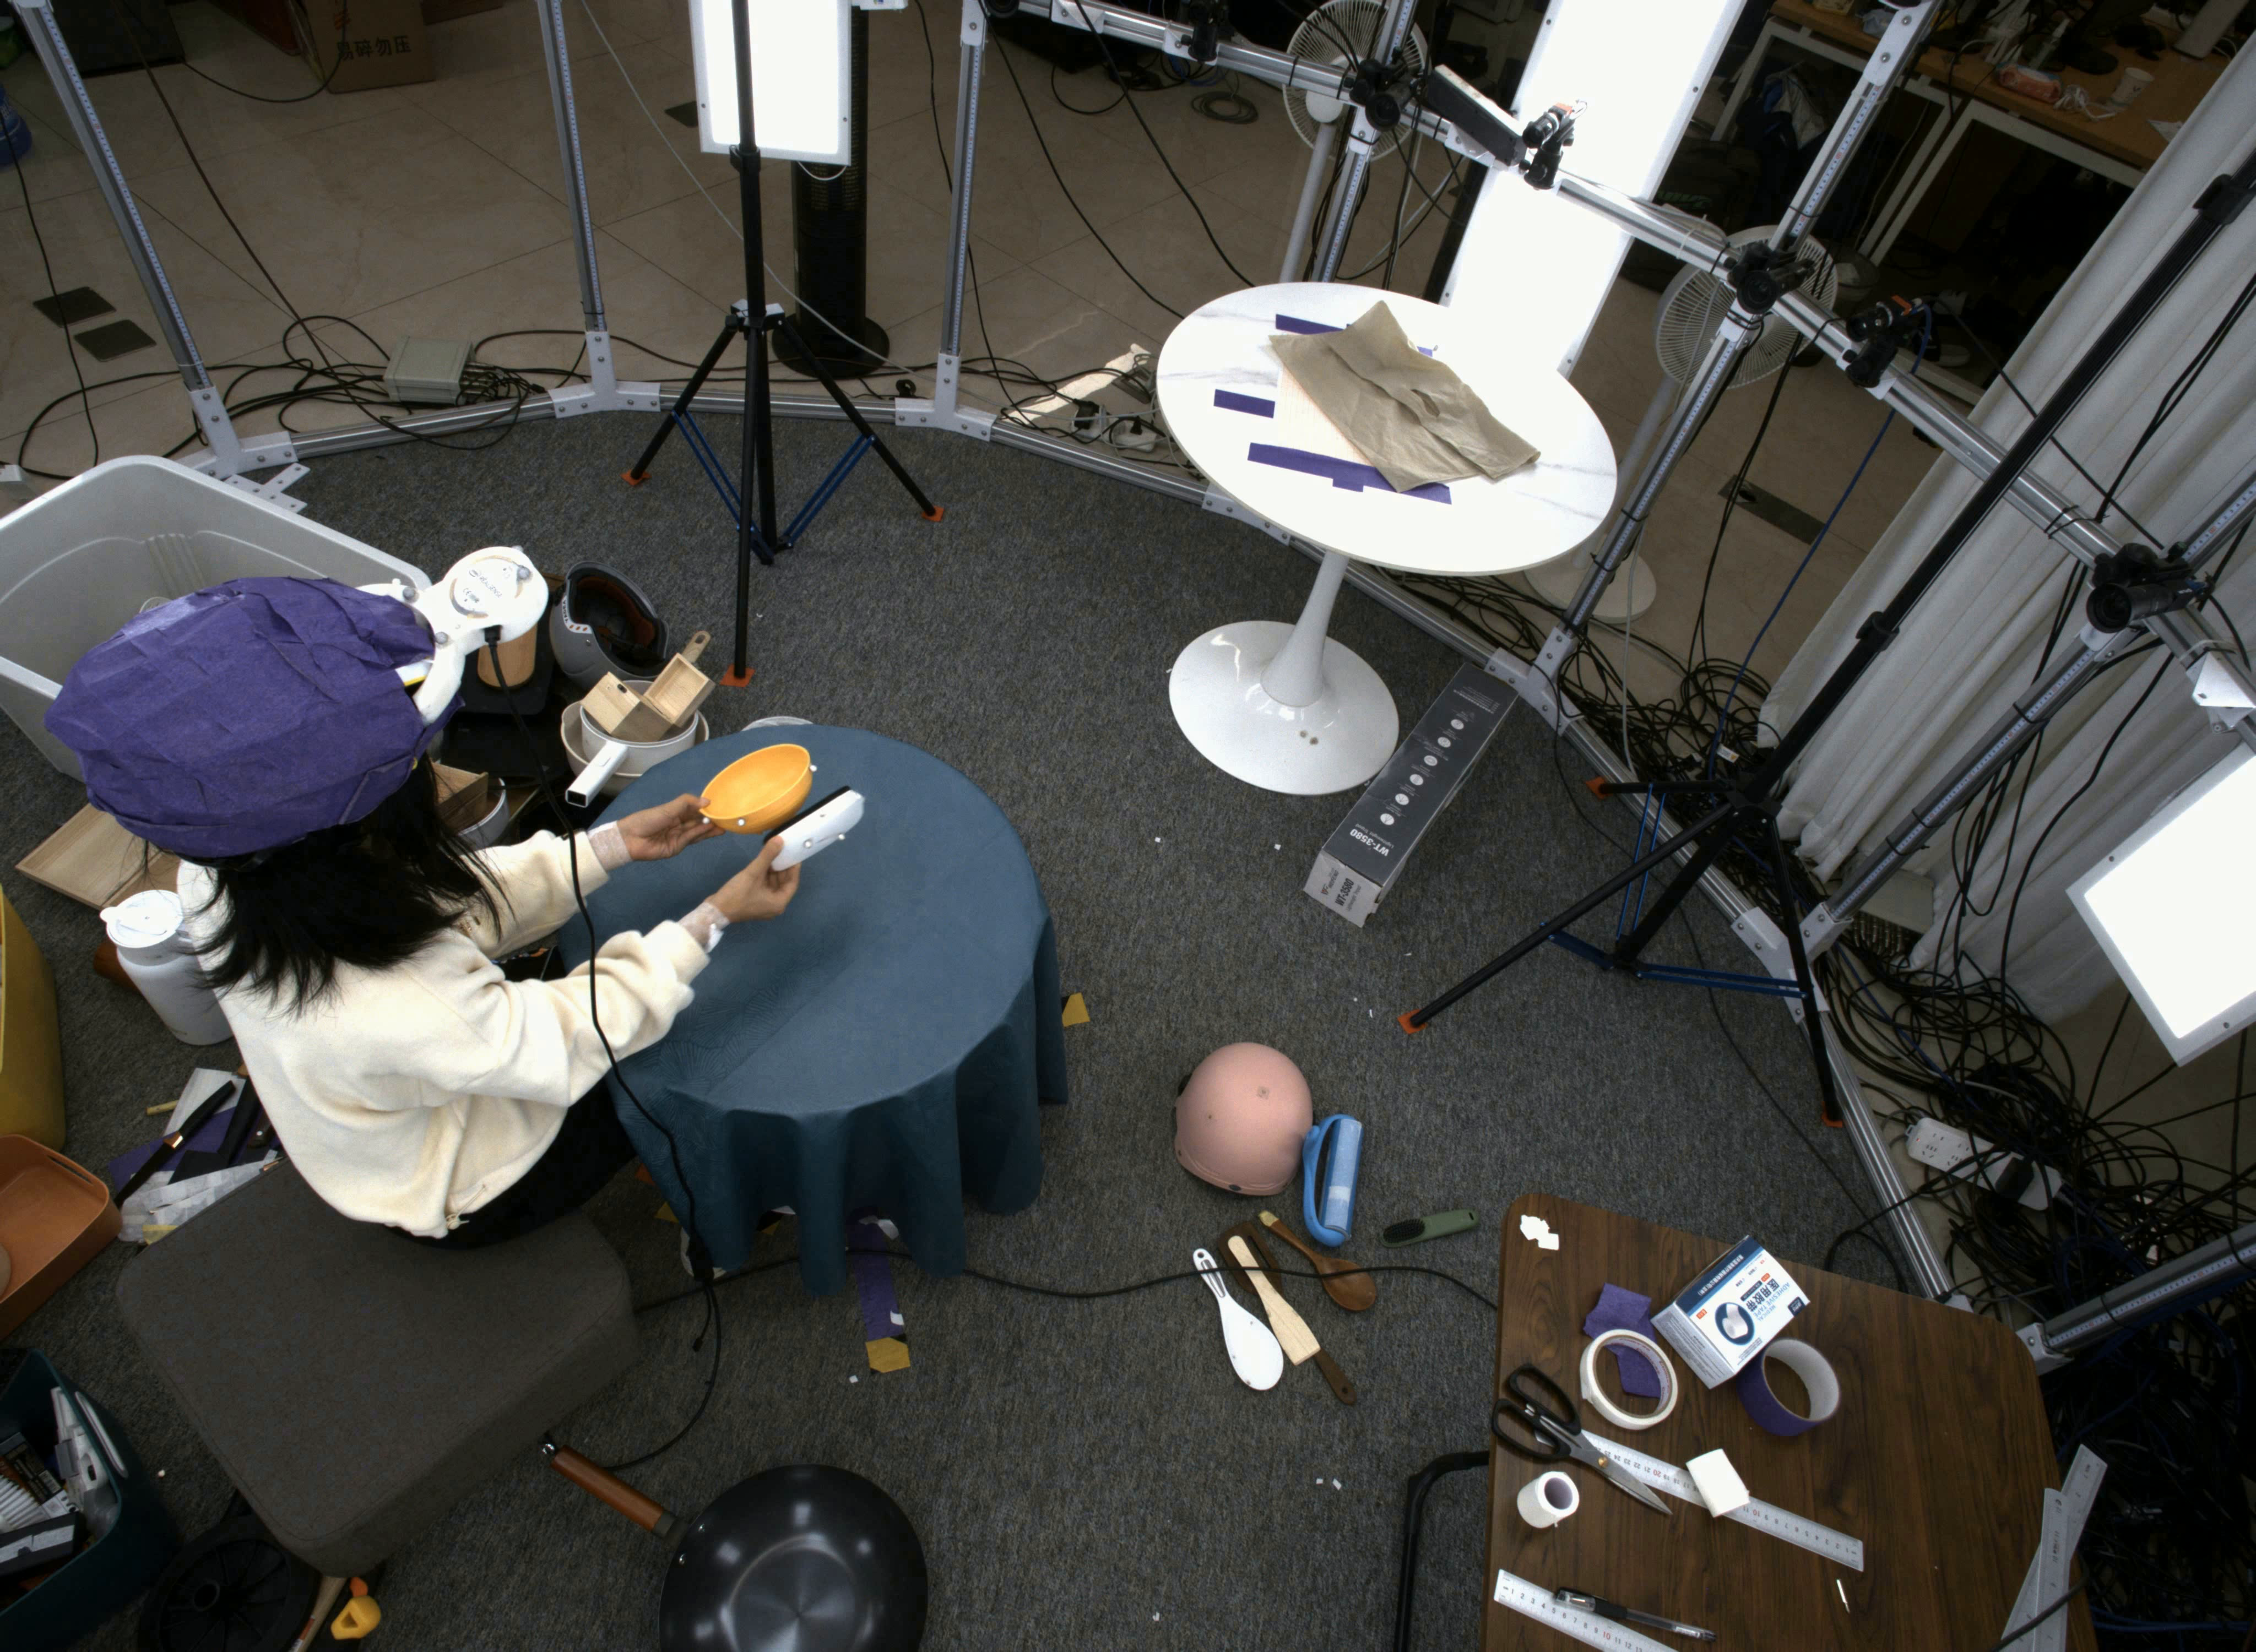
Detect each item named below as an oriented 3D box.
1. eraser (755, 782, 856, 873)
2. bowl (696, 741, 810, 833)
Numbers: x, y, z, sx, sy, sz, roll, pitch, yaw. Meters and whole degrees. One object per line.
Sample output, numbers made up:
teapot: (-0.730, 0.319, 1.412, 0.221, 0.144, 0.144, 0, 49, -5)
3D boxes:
eraser: (-0.379, 0.001, 1.532, 0.131, 0.064, 0.034, -38, 72, -26)
bowl: (-0.442, -0.037, 1.560, 0.143, 0.062, 0.142, -12, 36, 10)
